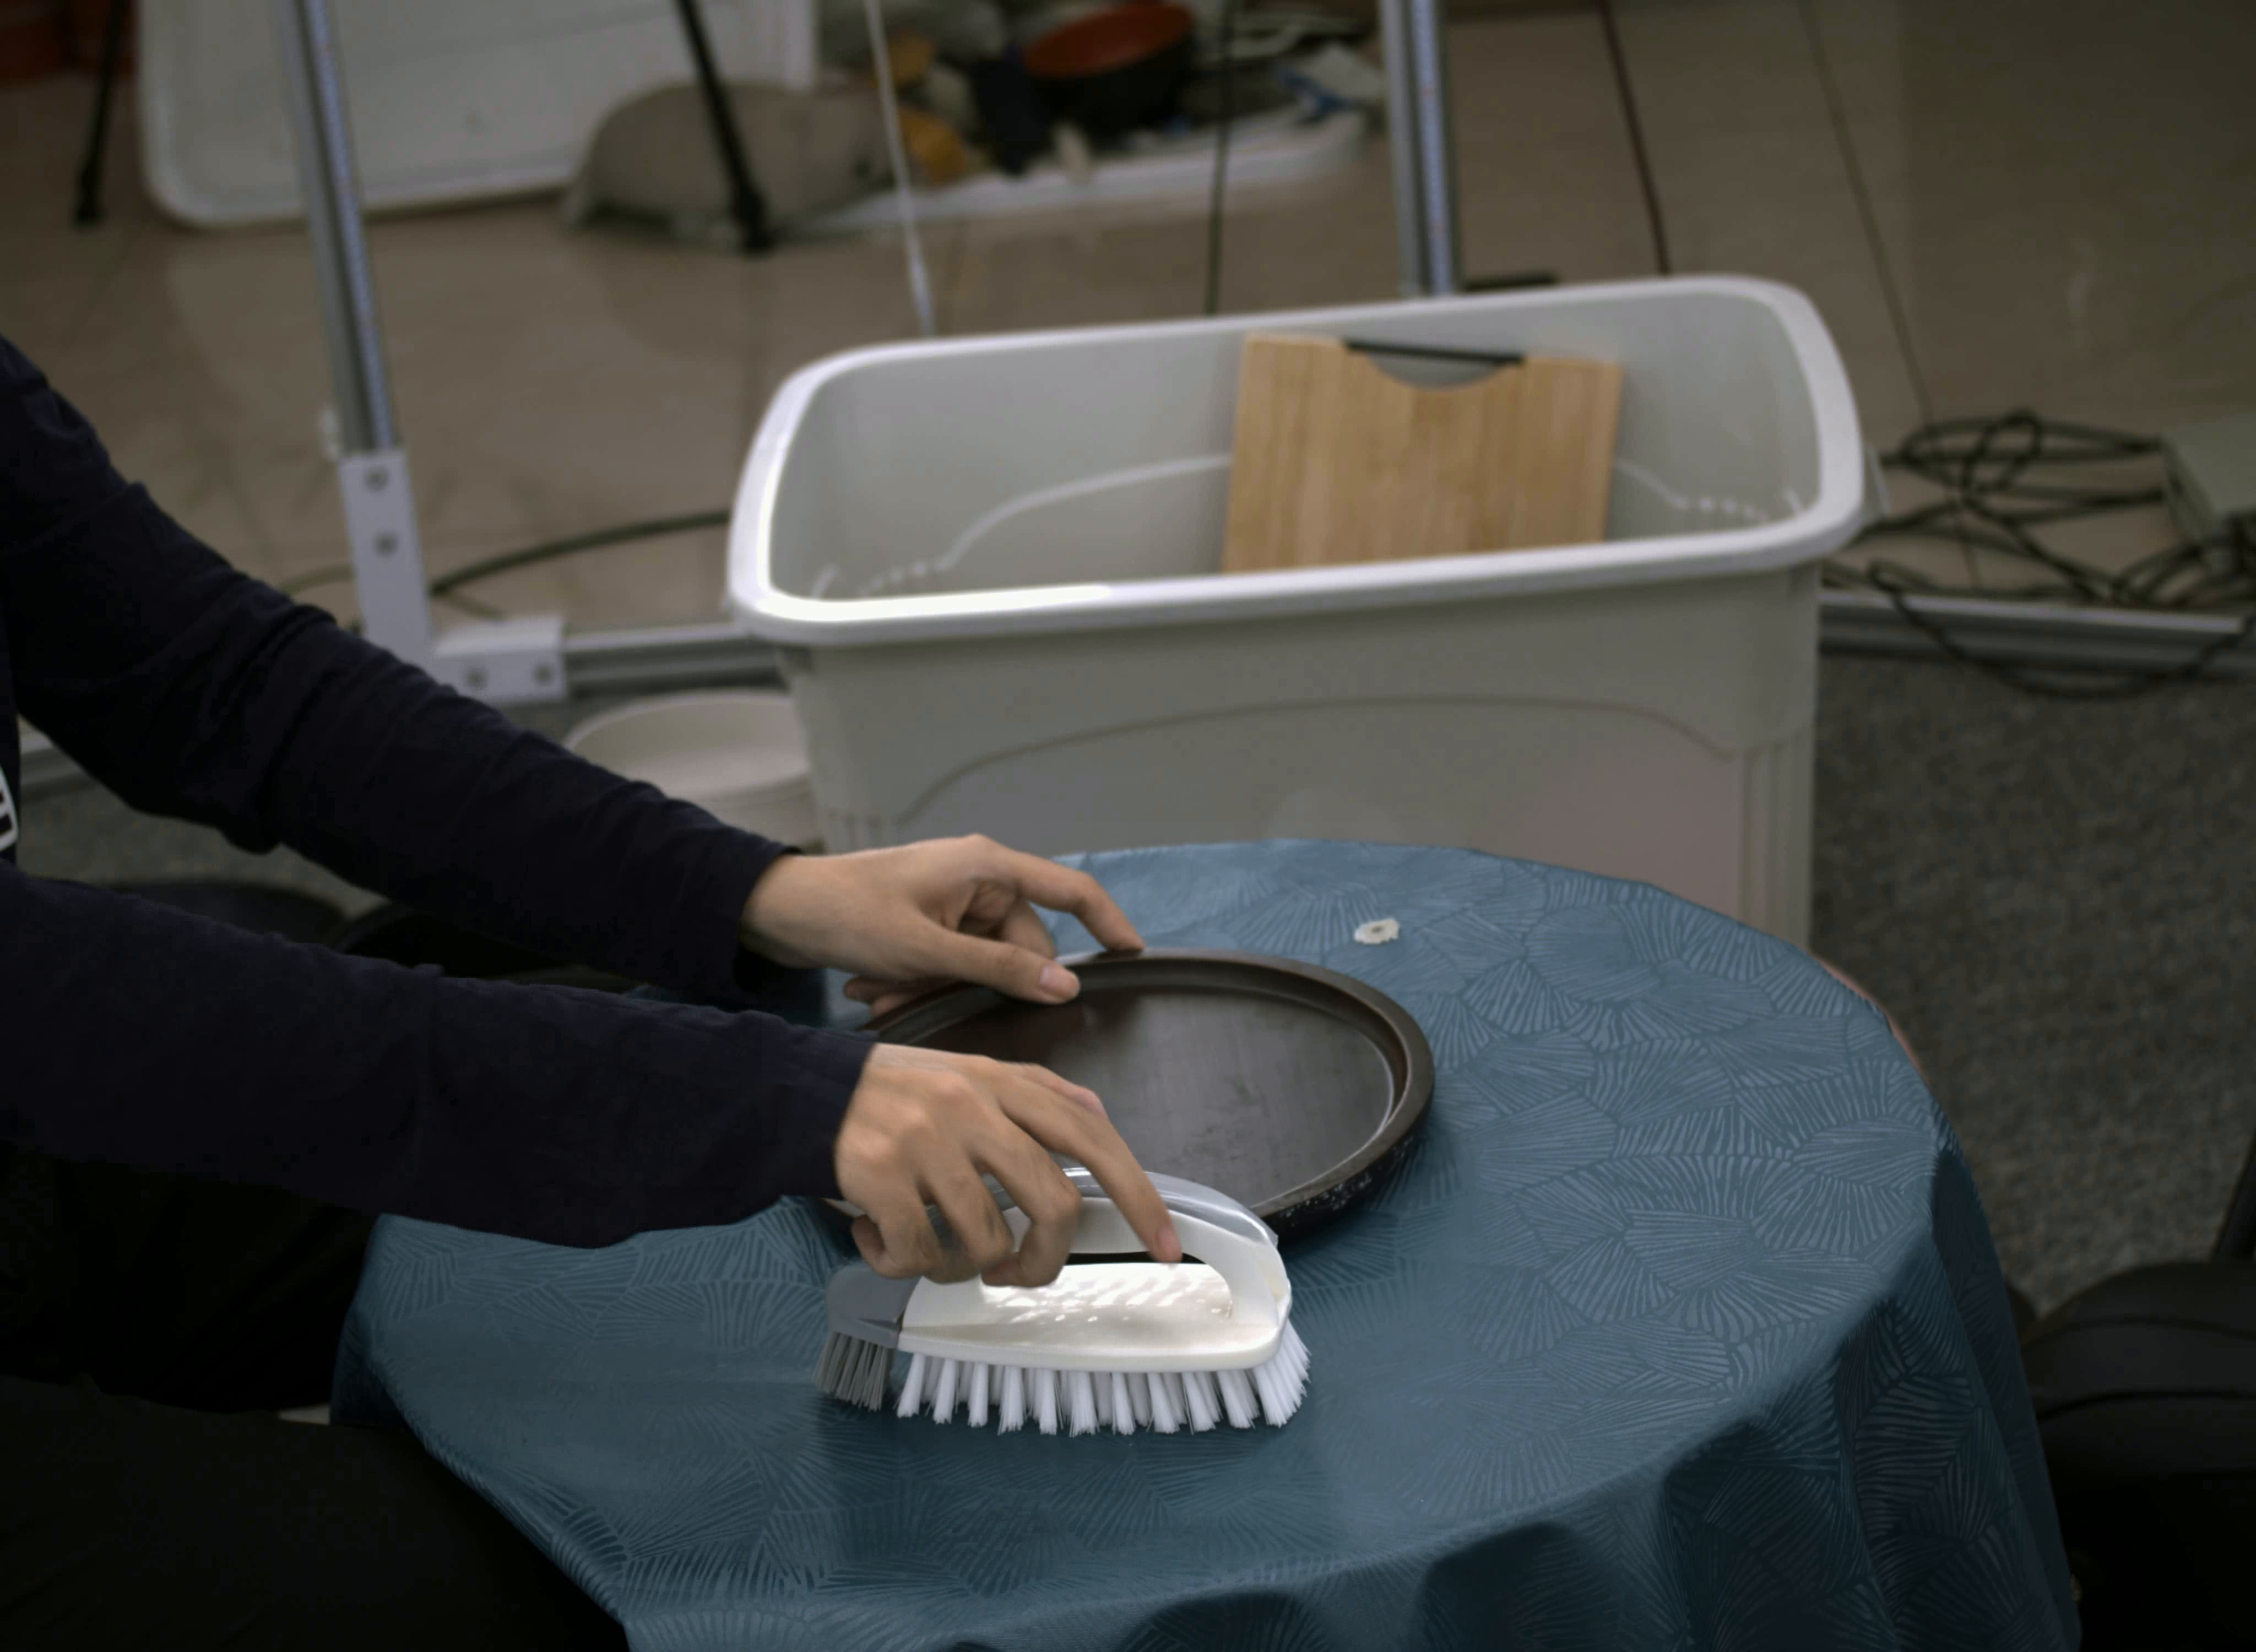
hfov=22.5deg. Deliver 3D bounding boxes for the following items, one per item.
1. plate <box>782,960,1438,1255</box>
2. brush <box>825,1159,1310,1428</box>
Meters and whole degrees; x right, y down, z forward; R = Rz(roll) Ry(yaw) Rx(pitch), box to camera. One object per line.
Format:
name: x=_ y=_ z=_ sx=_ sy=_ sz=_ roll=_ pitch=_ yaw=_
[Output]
plate: x=-0.007 y=0.112 z=2.181 sx=0.254 sy=0.029 sz=0.251 roll=-4 pitch=25 yaw=2
brush: x=-0.028 y=0.163 z=1.993 sx=0.175 sy=0.096 sz=0.060 roll=-3 pitch=26 yaw=13
